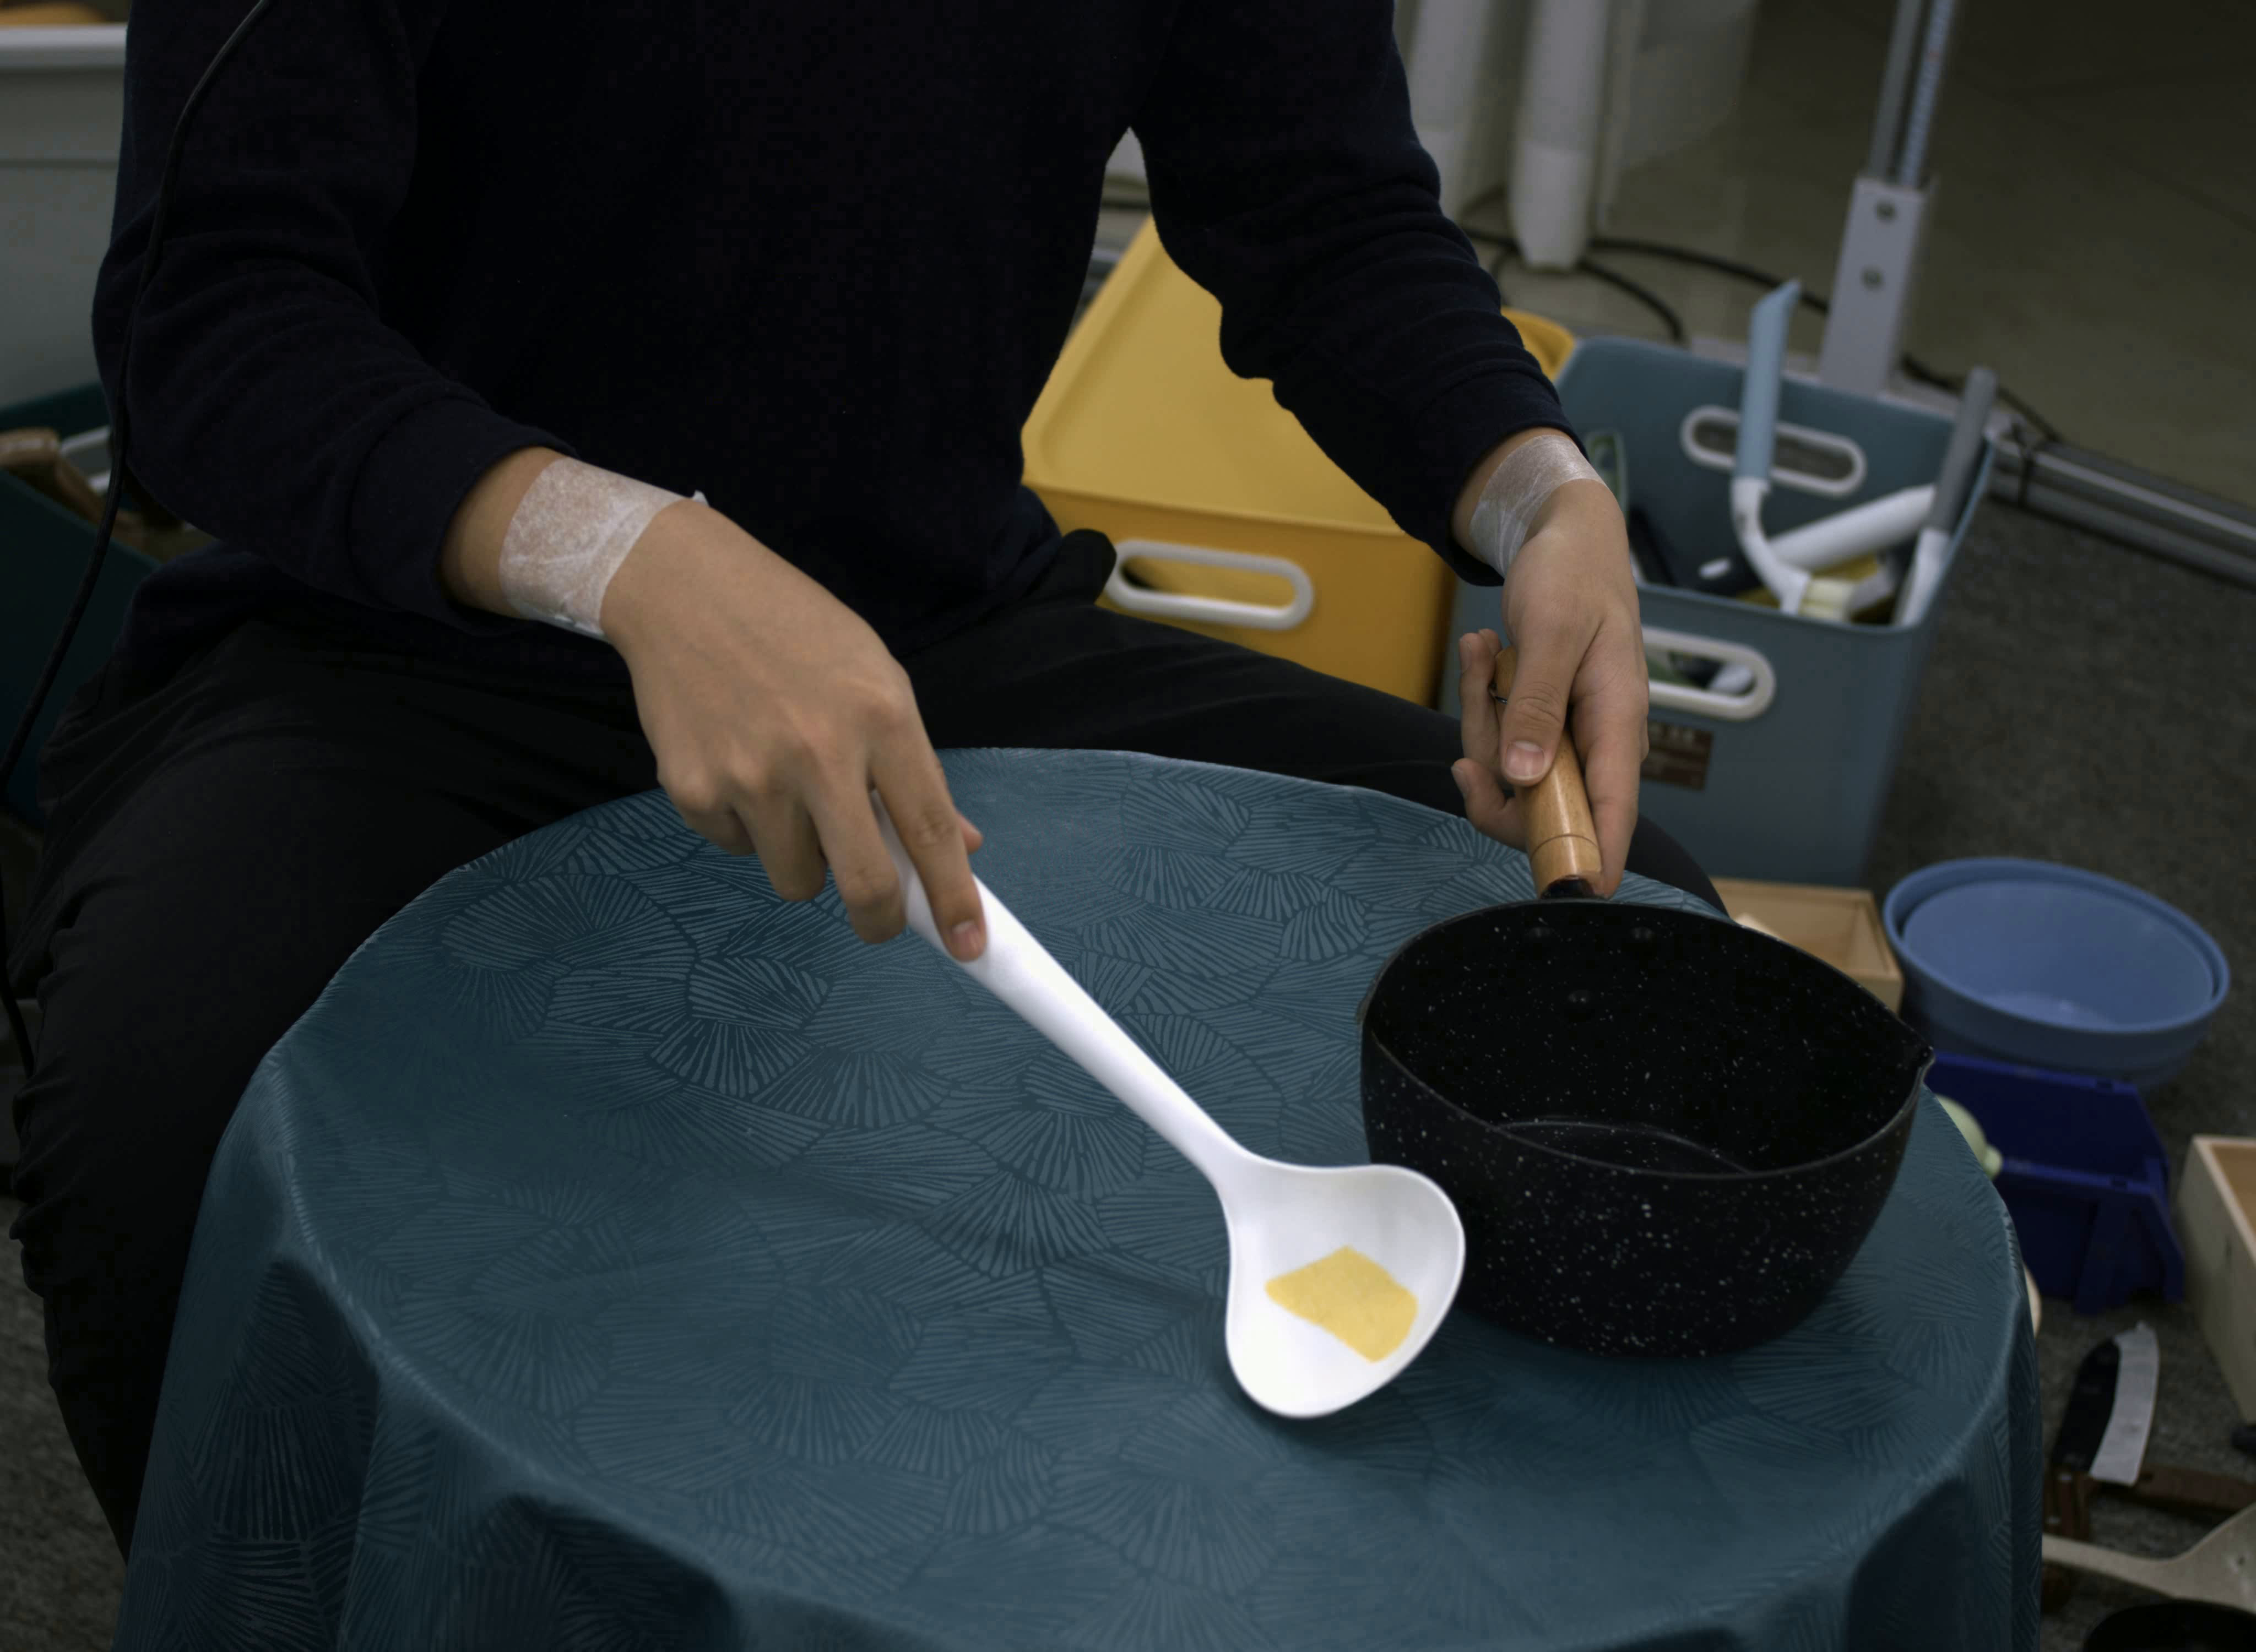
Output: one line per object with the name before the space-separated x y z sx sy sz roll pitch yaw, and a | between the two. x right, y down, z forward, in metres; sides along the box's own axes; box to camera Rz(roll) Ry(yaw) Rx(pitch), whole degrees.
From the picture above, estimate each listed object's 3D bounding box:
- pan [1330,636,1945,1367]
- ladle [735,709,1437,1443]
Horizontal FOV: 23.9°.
pan | 0.158 0.057 1.849 0.206 0.108 0.345 1 29 -9
ladle | -0.019 0.074 1.710 0.293 0.090 0.070 44 11 6
